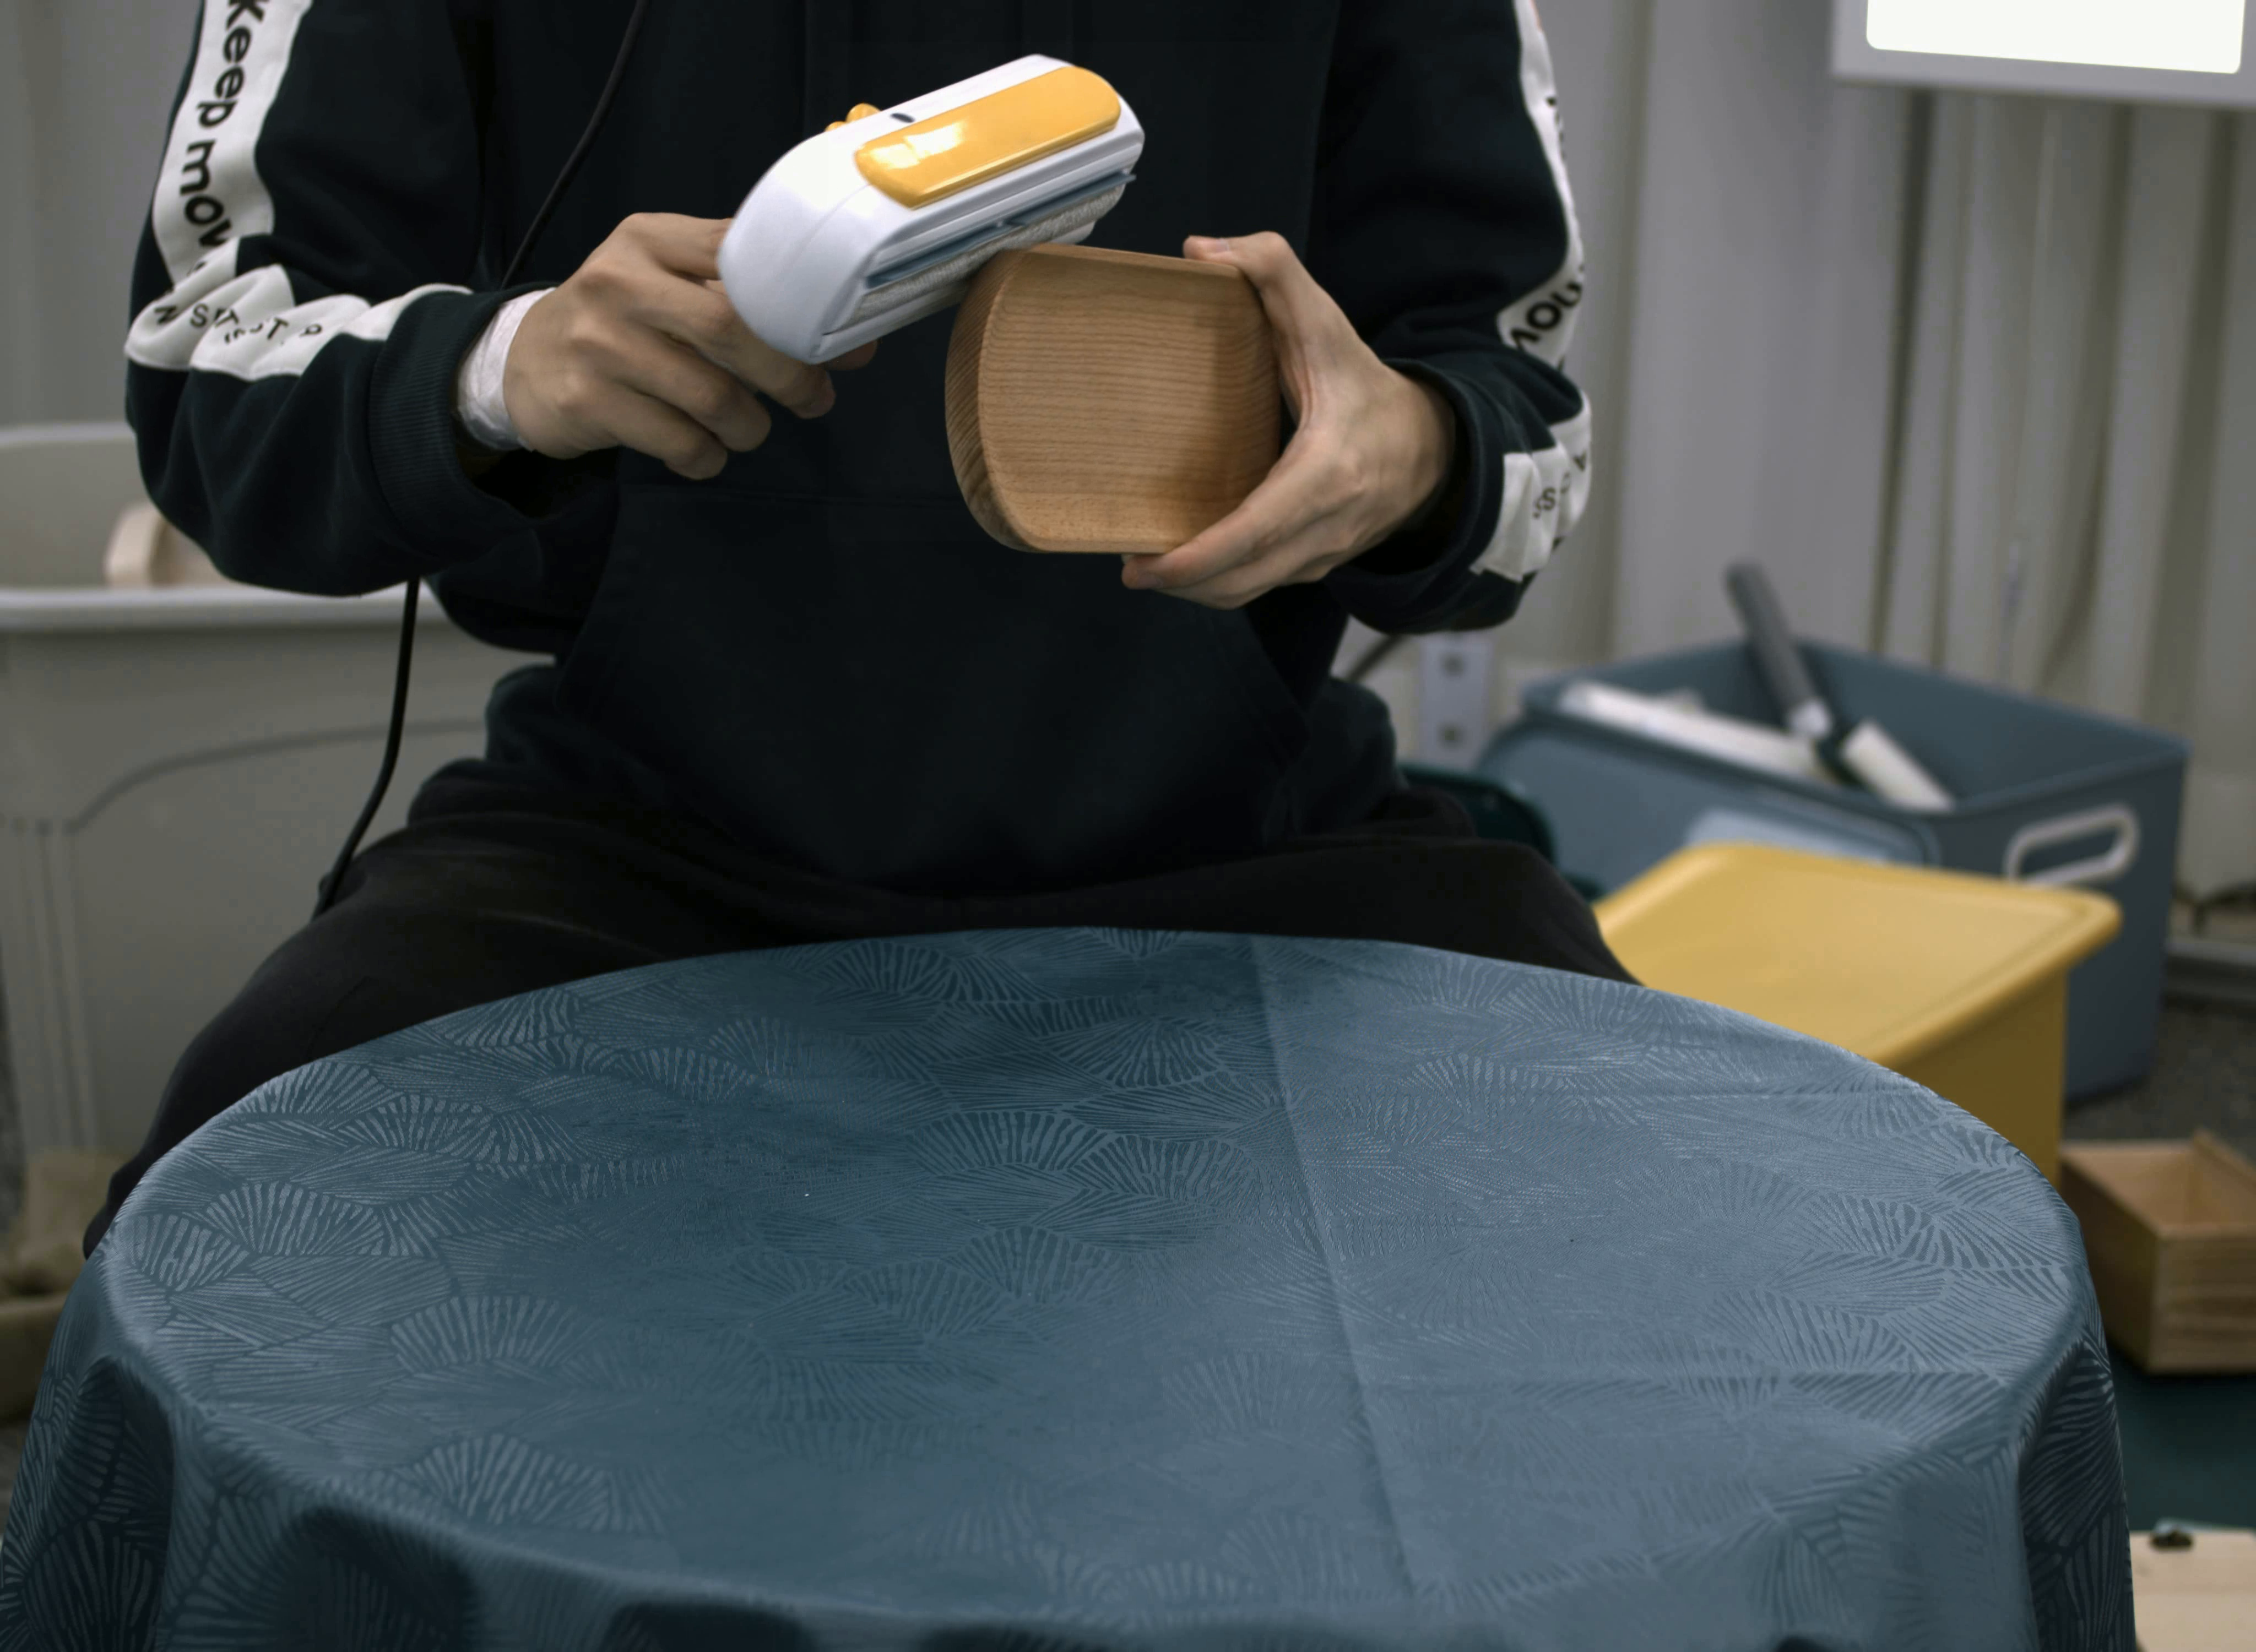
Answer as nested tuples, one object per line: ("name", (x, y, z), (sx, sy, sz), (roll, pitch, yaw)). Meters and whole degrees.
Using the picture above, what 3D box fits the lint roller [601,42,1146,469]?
("lint roller", (-0.097, -0.172, 1.716), (0.074, 0.192, 0.193), (46, 30, 2))

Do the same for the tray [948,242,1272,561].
("tray", (-0.003, -0.139, 1.750), (0.020, 0.102, 0.232), (3, 4, 26))
